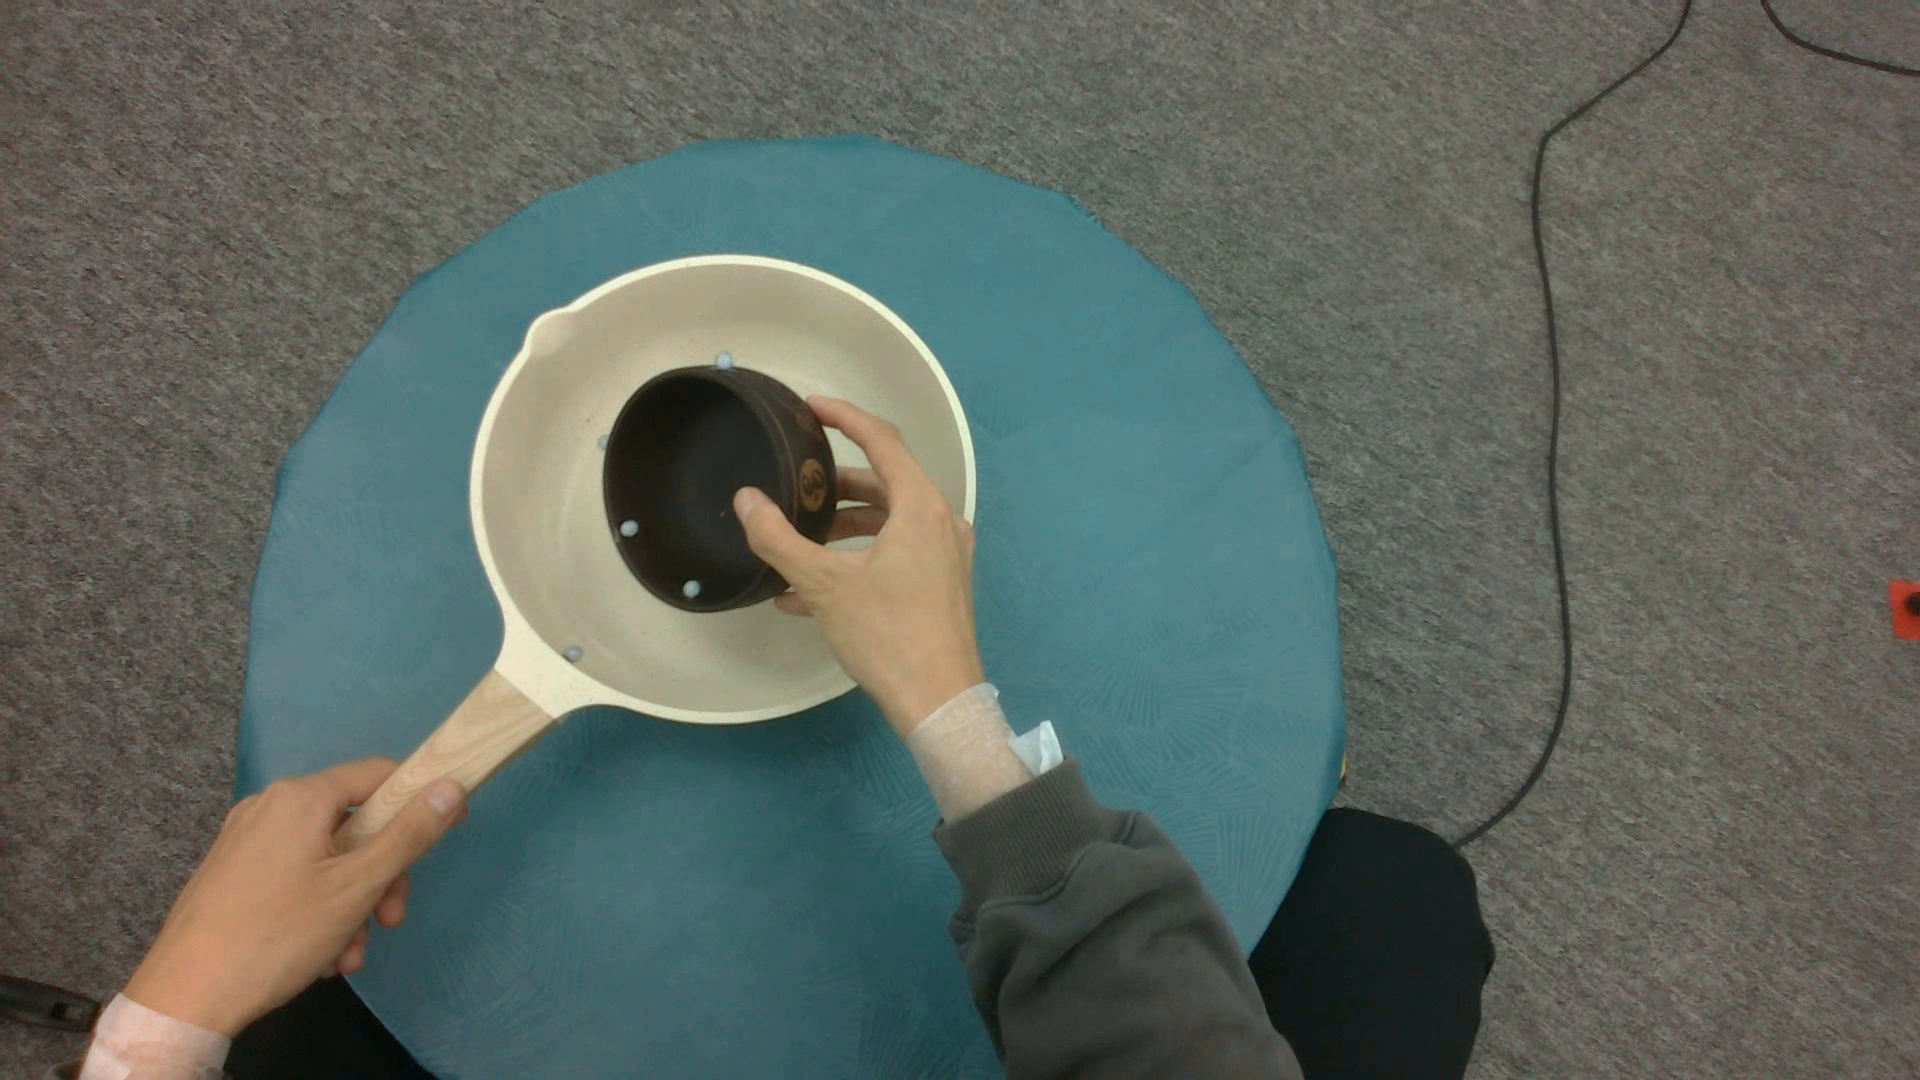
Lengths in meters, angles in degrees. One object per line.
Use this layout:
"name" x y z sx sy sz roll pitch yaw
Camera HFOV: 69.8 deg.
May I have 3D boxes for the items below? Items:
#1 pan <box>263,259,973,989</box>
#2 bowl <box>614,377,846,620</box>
"pan" -0.177 0.045 0.716 0.263 0.101 0.436 38 74 6
"bowl" -0.107 -0.023 0.687 0.118 0.070 0.118 5 99 30
